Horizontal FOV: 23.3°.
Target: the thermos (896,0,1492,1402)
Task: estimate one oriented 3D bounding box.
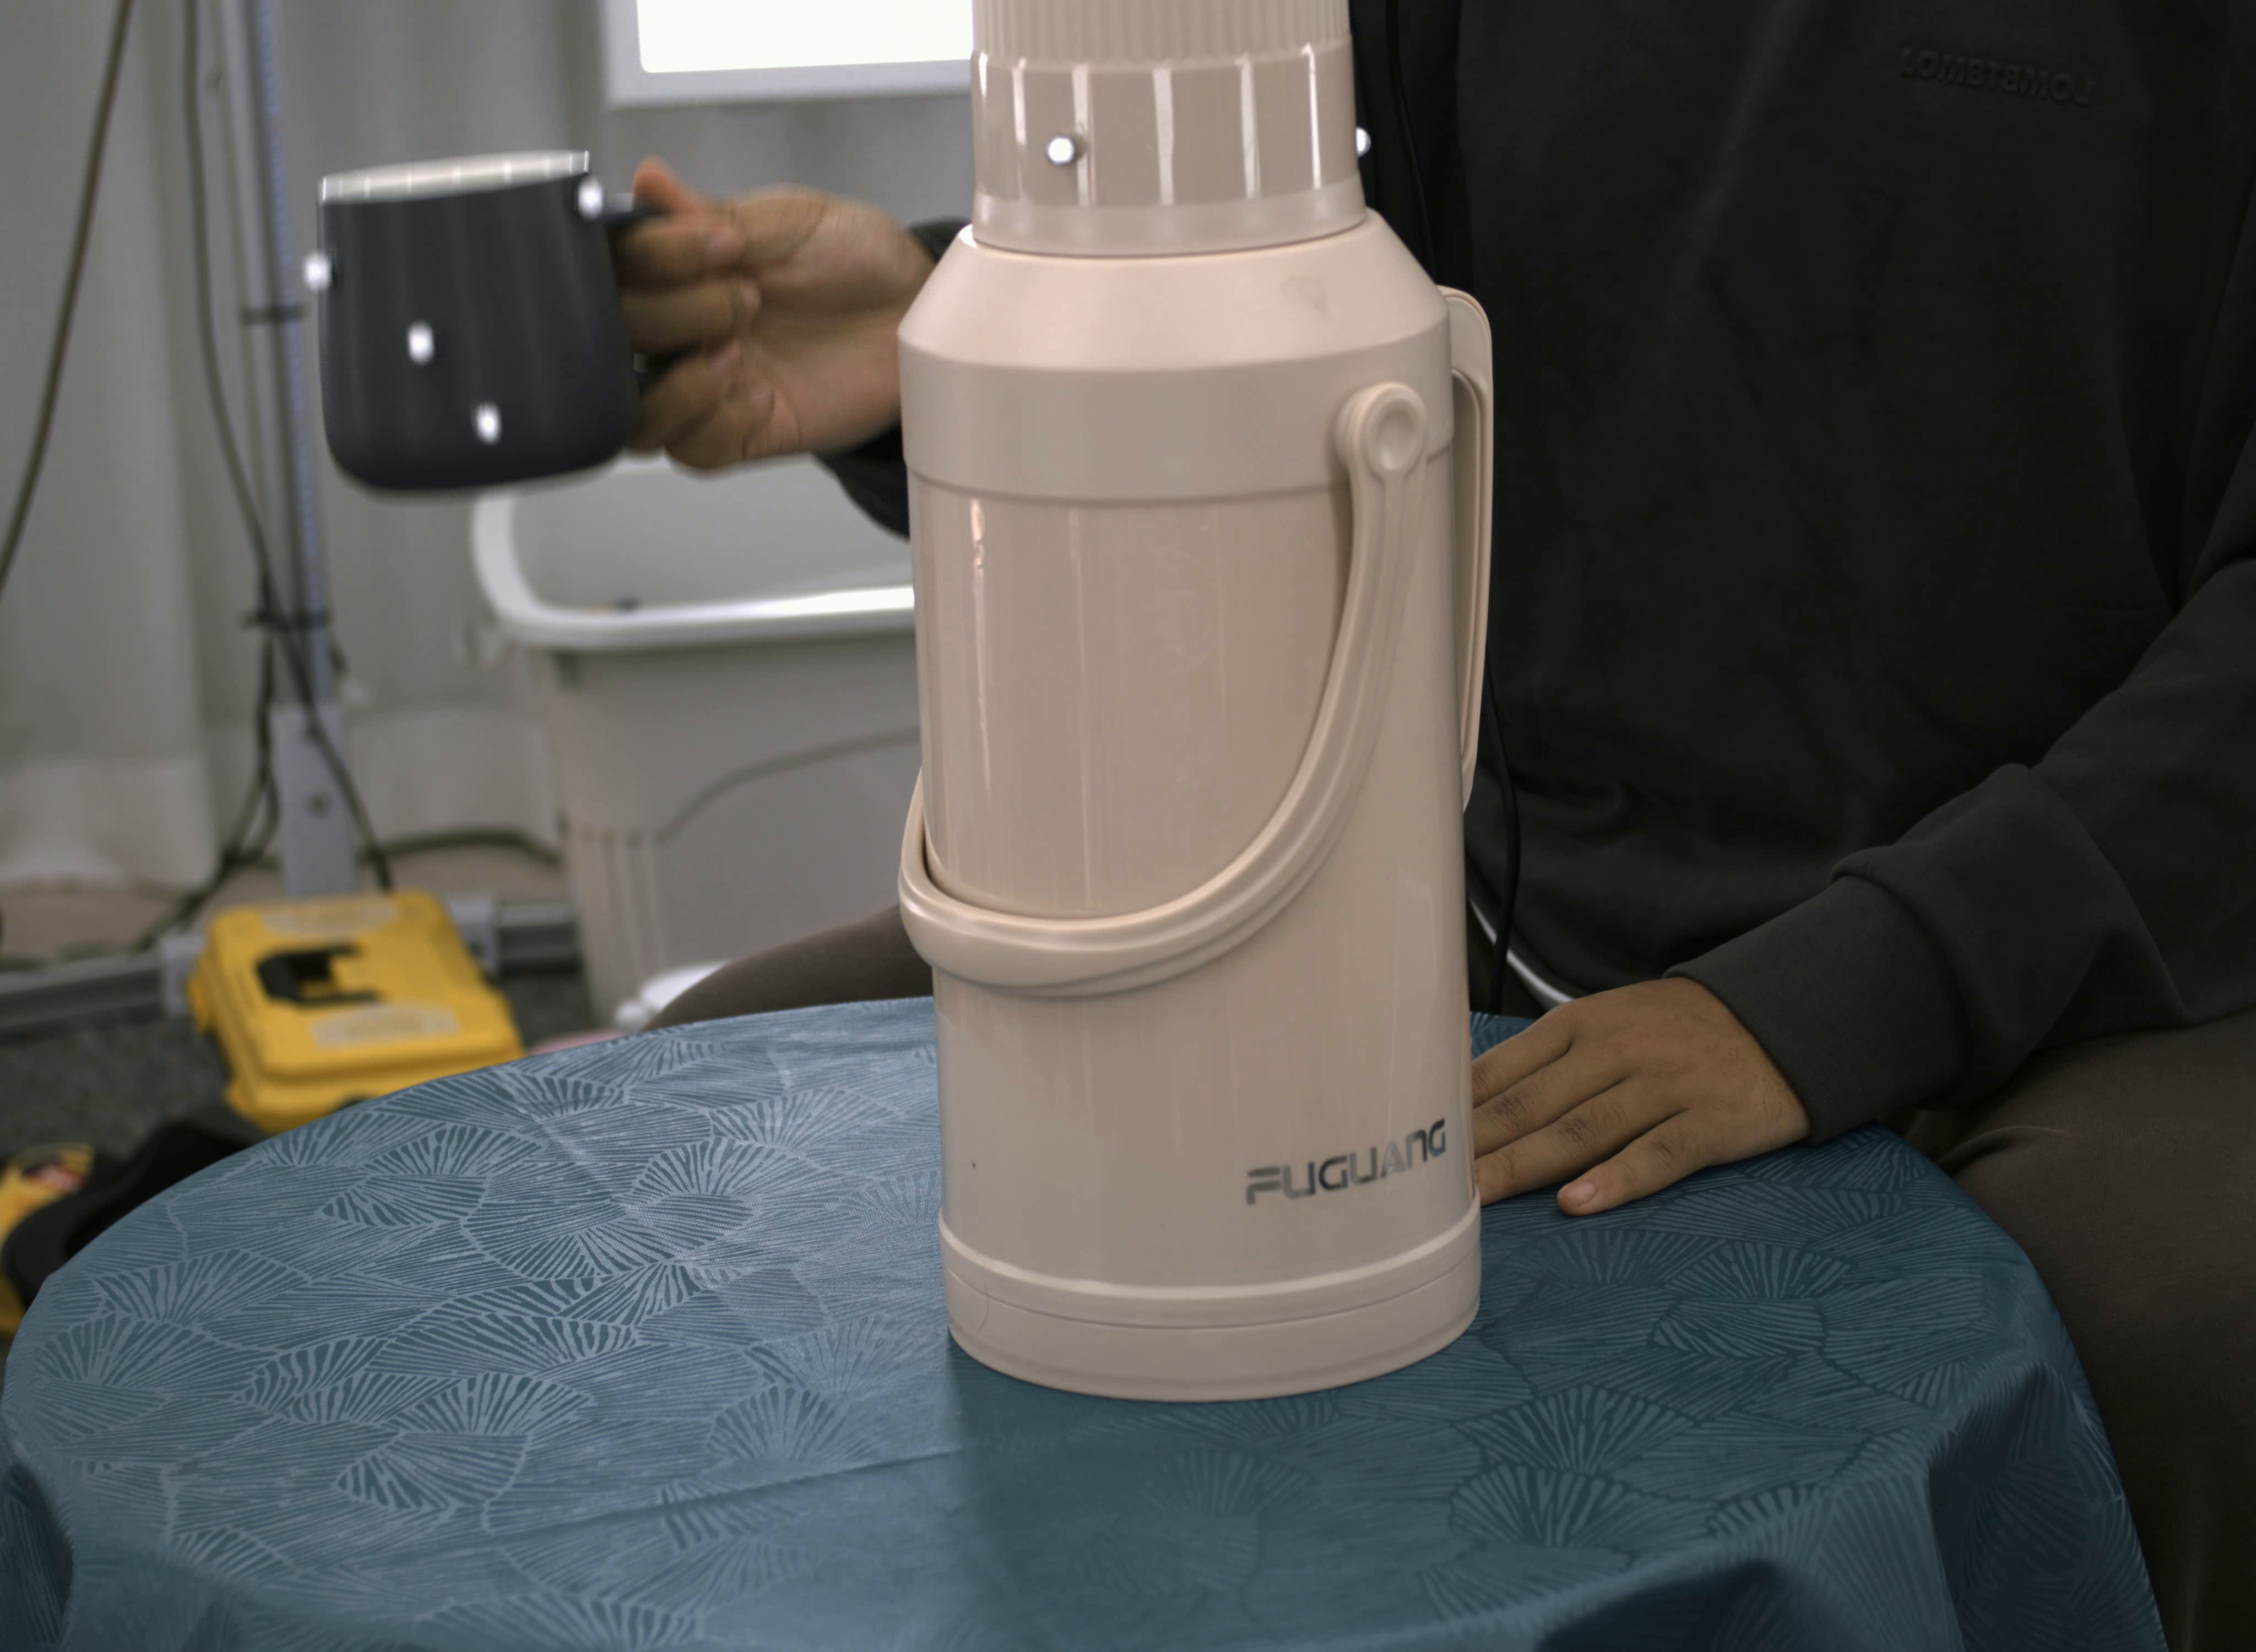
[{"bbox_3d":[0.028,-0.053,1.575,0.206,0.405,0.176,-15,18,-41],"label":"thermos"}]

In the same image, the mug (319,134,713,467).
[{"bbox_3d":[-0.179,-0.157,1.622,0.123,0.090,0.094,-11,10,-30],"label":"mug"}]
